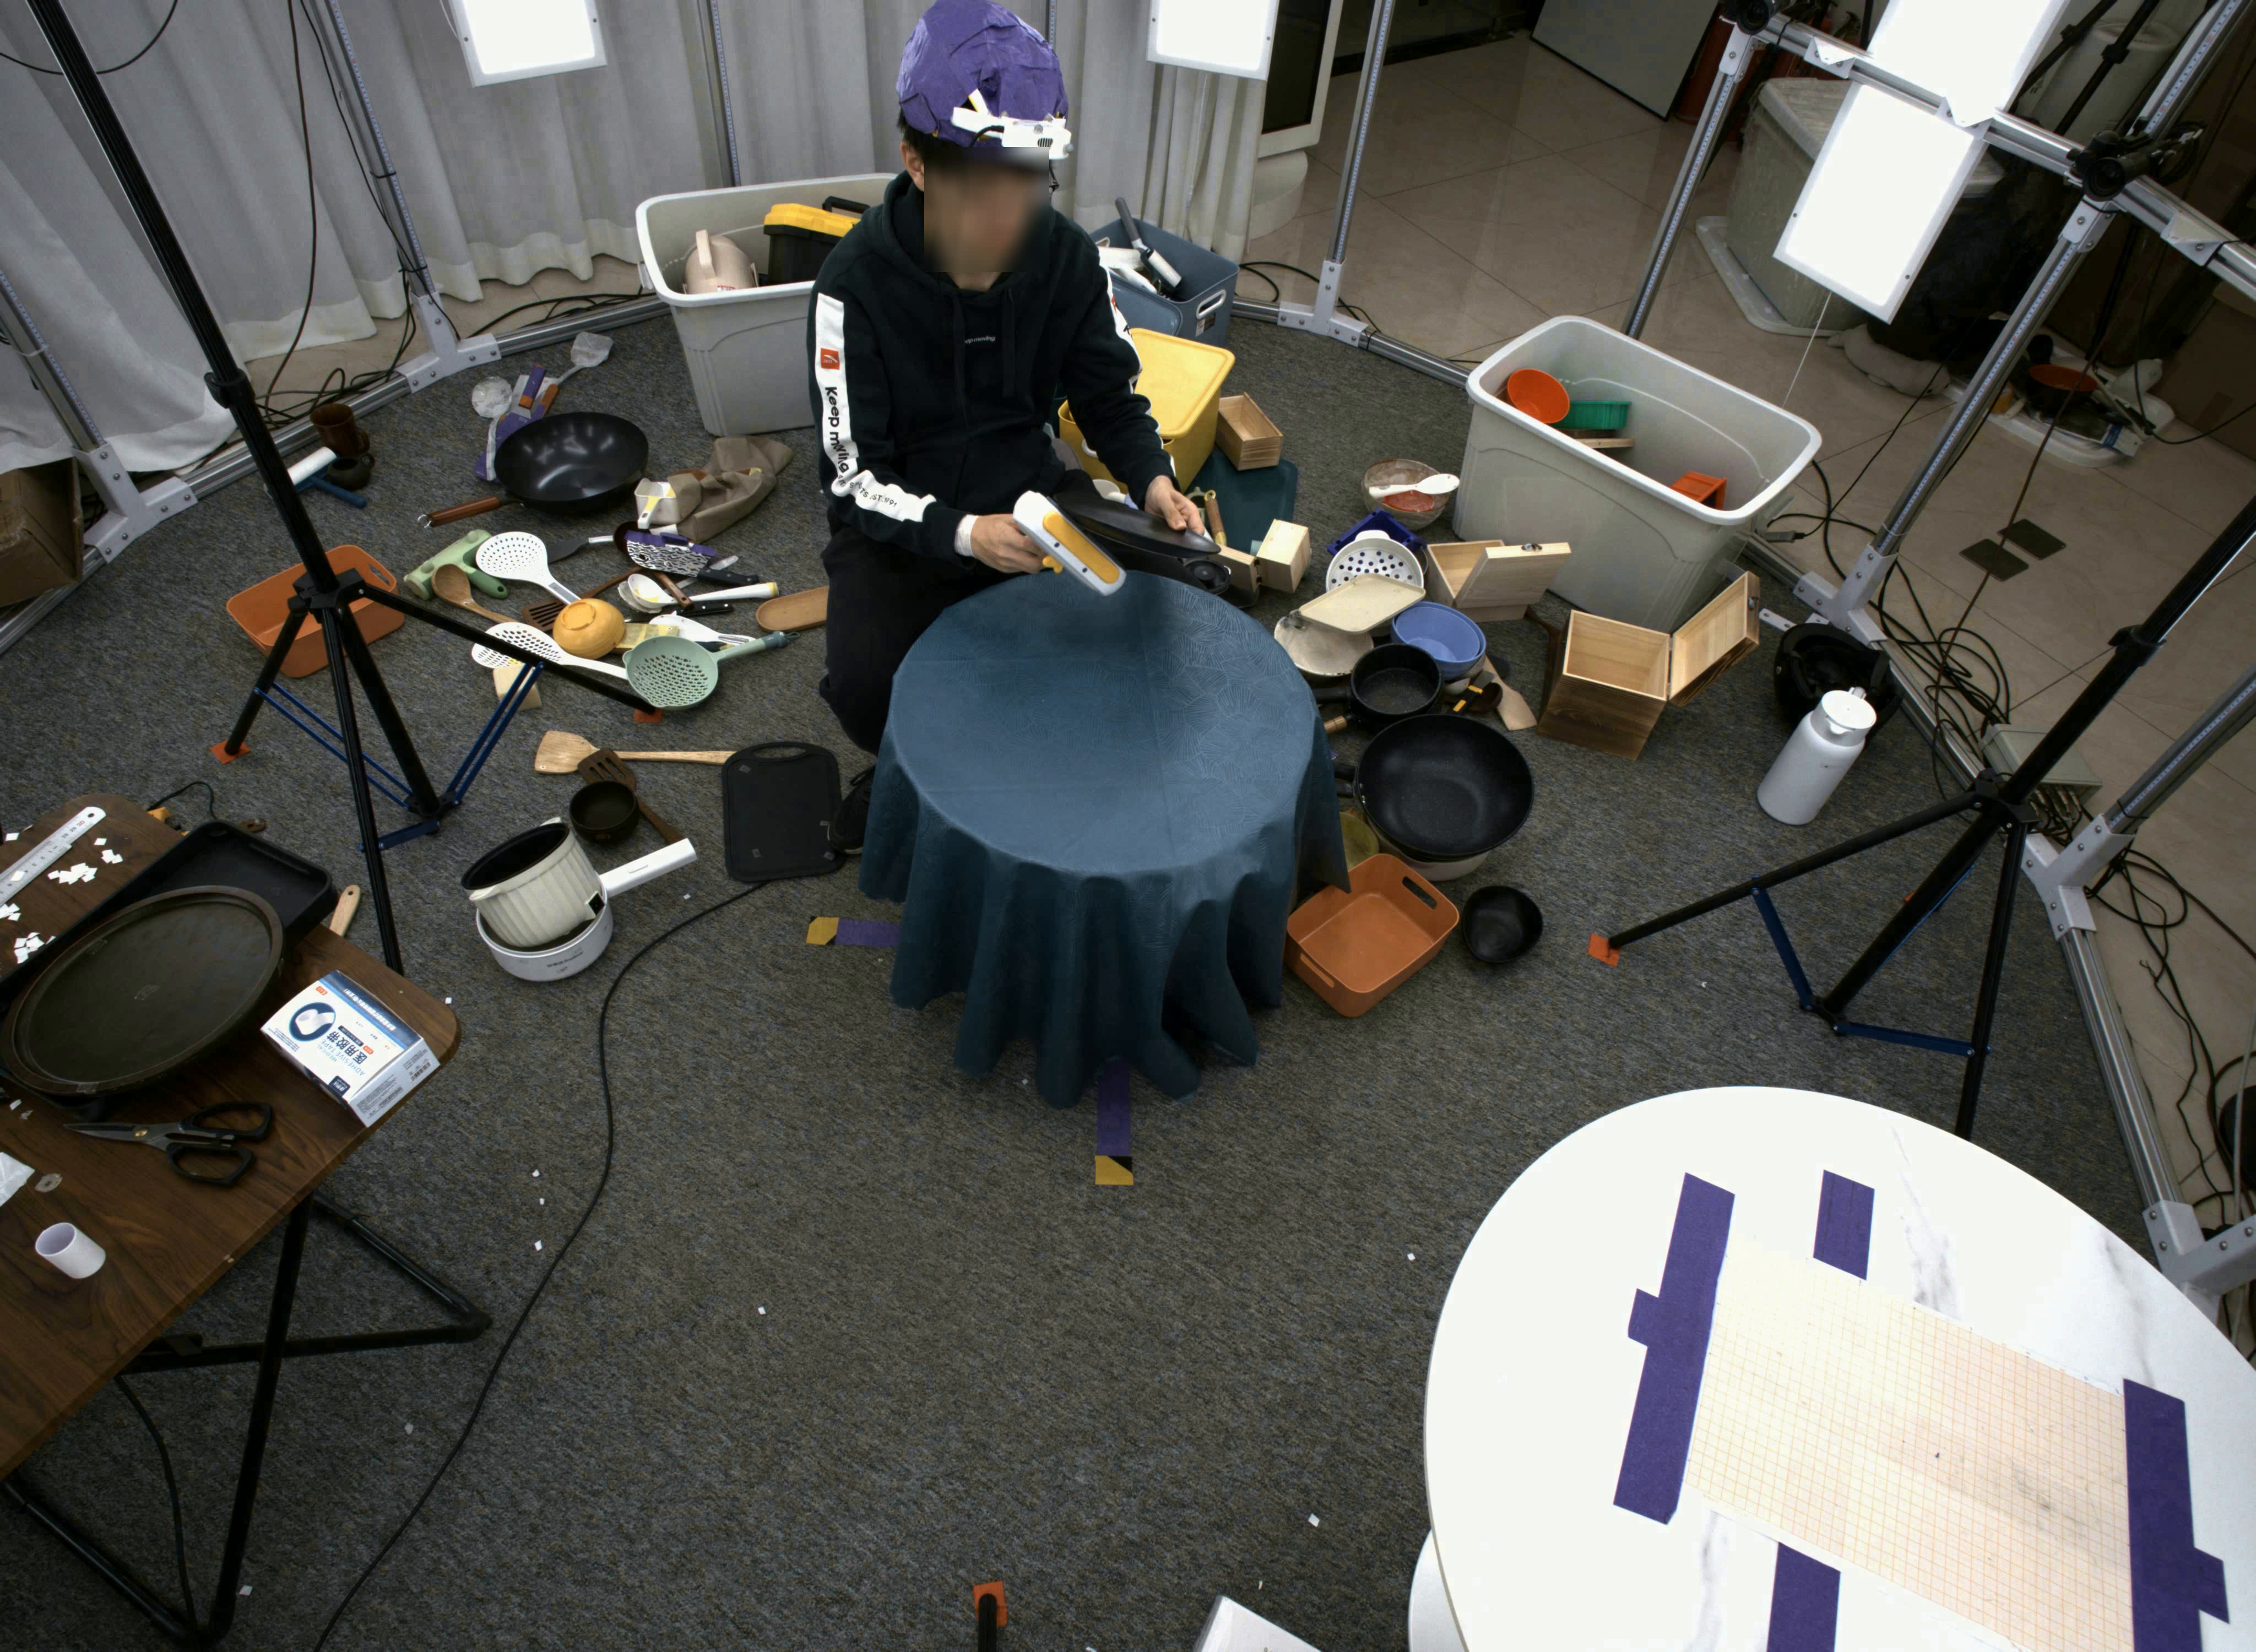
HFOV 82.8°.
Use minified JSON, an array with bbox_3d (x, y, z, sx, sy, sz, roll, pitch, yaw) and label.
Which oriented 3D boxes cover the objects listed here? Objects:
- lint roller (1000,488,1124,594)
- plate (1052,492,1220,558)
[{"bbox_3d":[-0.118,-0.396,1.815,0.195,0.190,0.074,23,84,58],"label":"lint roller"},{"bbox_3d":[0.010,-0.413,1.787,0.244,0.023,0.248,16,20,-6],"label":"plate"}]
